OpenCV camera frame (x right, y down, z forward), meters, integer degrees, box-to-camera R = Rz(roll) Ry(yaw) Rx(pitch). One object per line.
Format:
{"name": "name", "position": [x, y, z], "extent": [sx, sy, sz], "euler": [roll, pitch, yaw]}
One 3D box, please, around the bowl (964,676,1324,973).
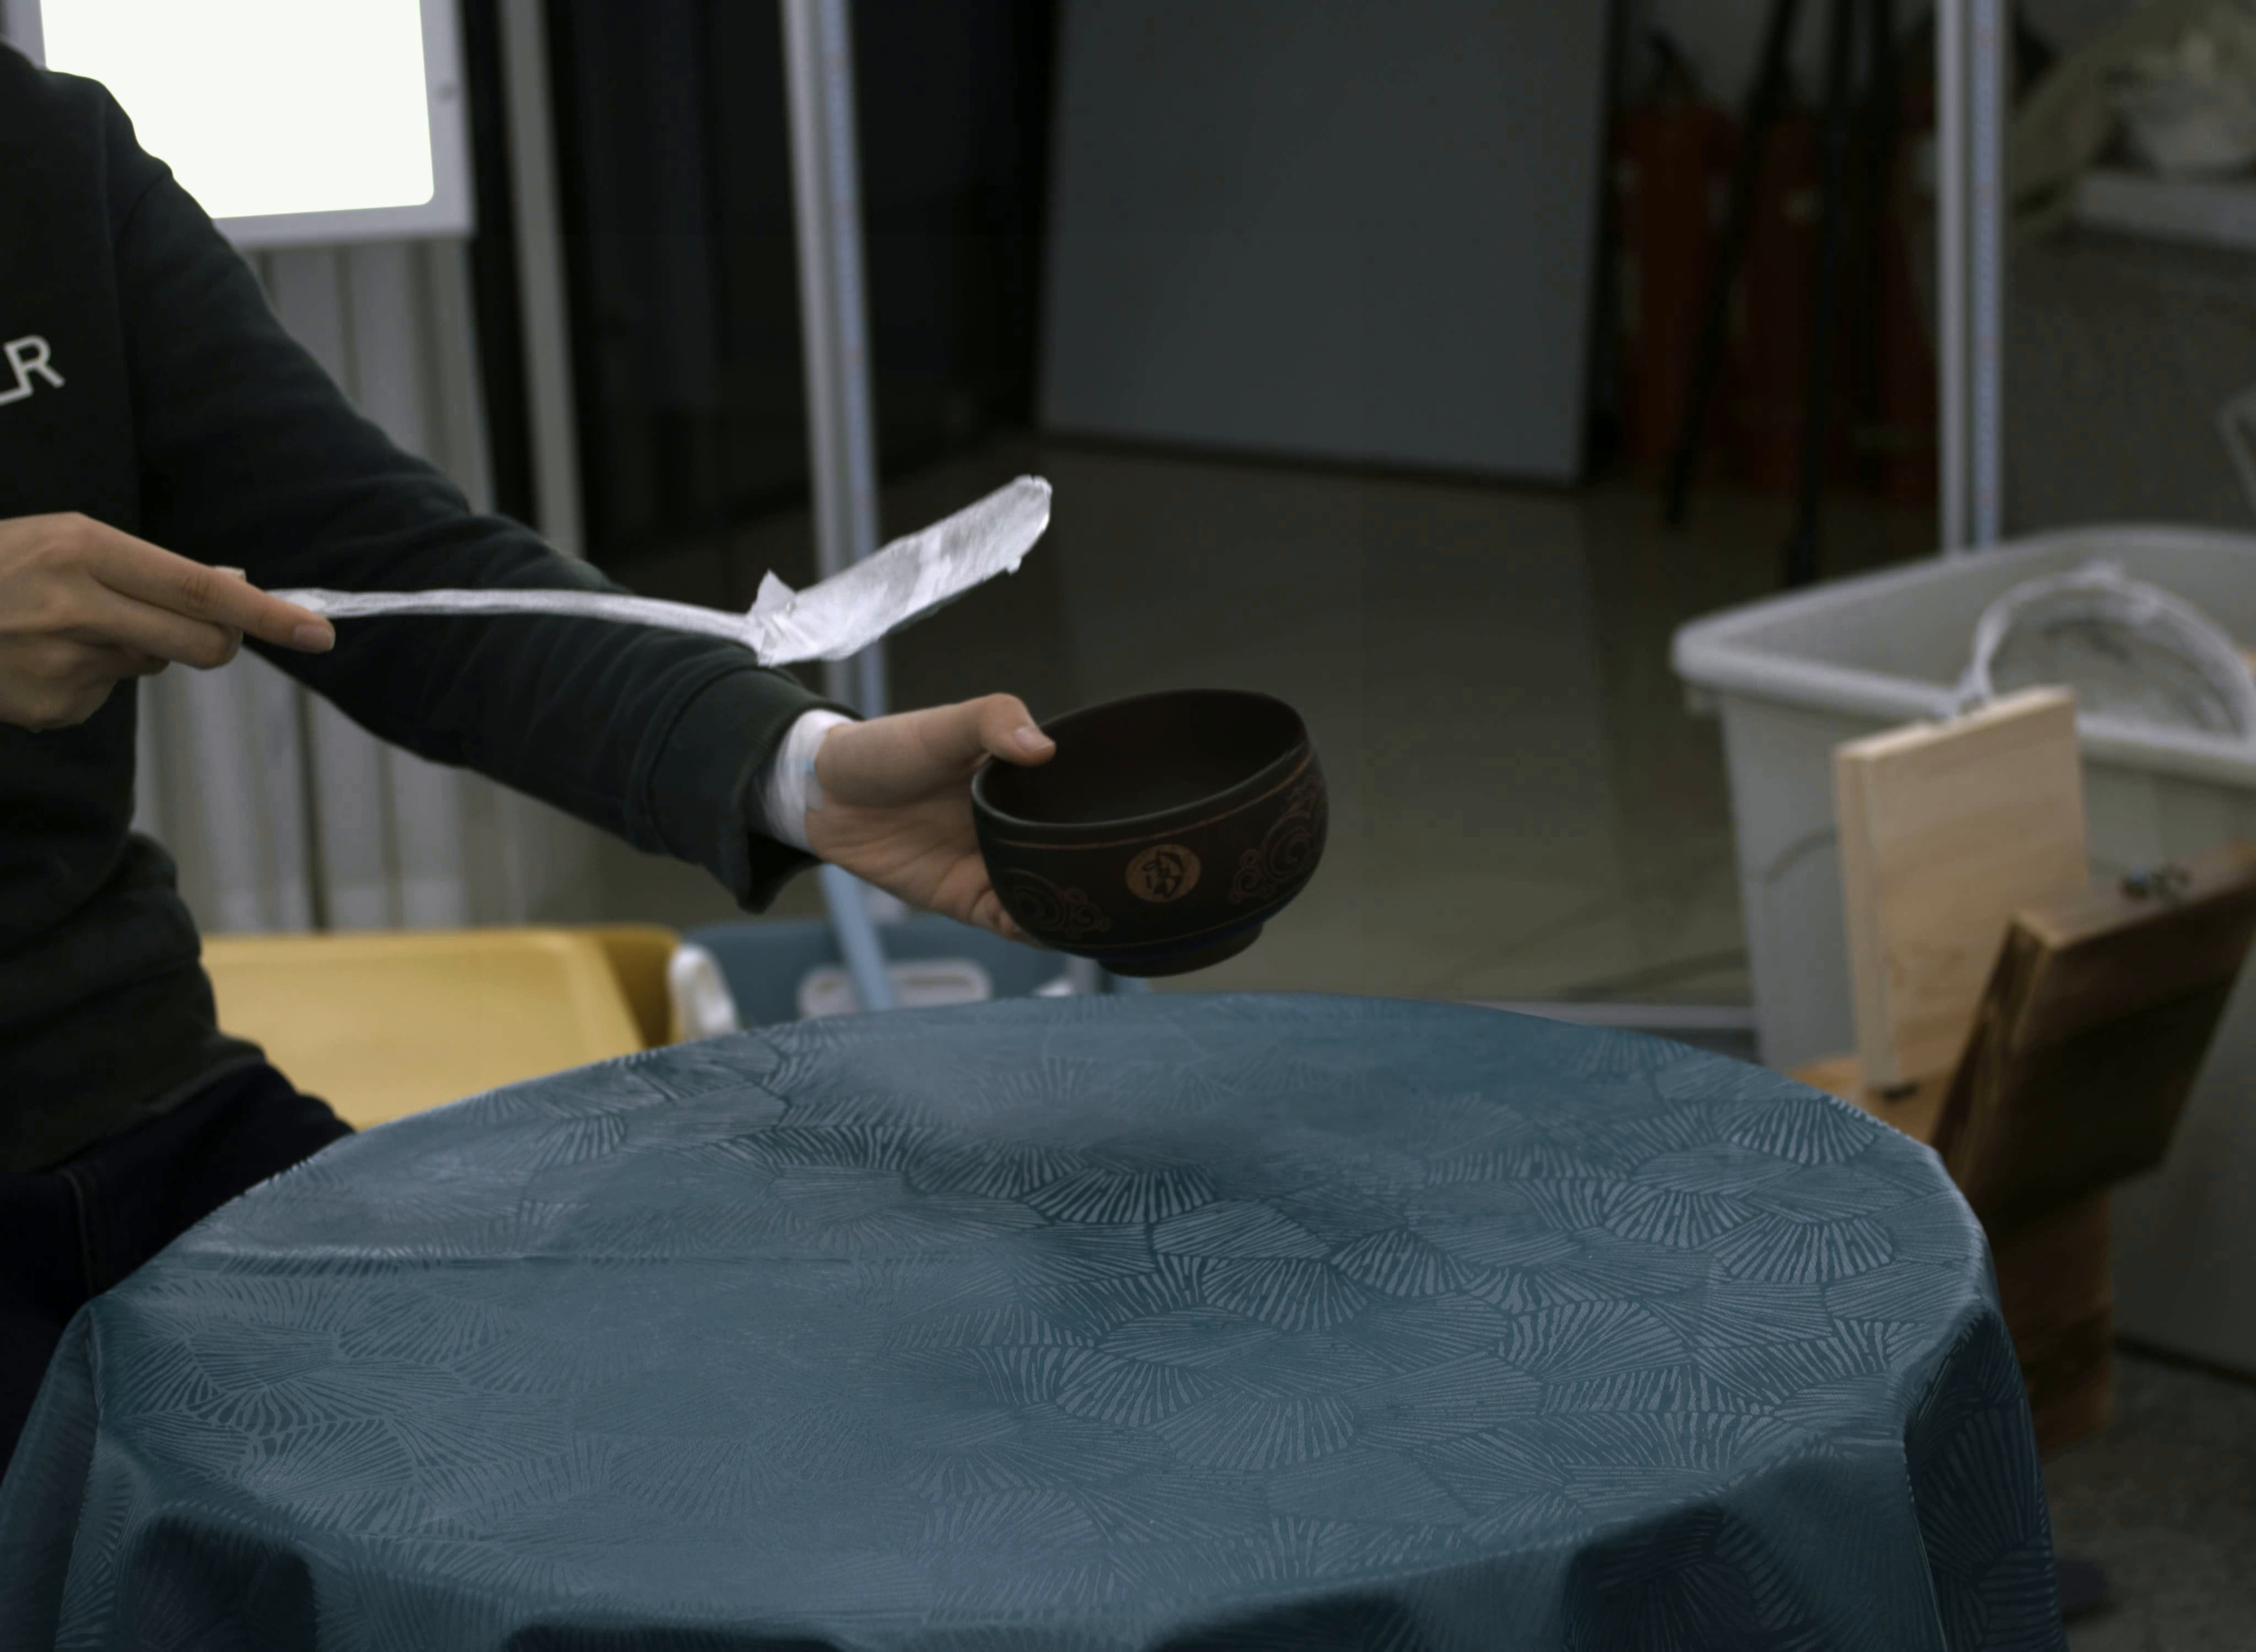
{"name": "bowl", "position": [0.009, 0.005, 1.767], "extent": [0.117, 0.070, 0.118], "euler": [-12, 20, 3]}

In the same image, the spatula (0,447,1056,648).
{"name": "spatula", "position": [-0.199, -0.080, 1.721], "extent": [0.362, 0.045, 0.098], "euler": [-1, 25, 12]}
